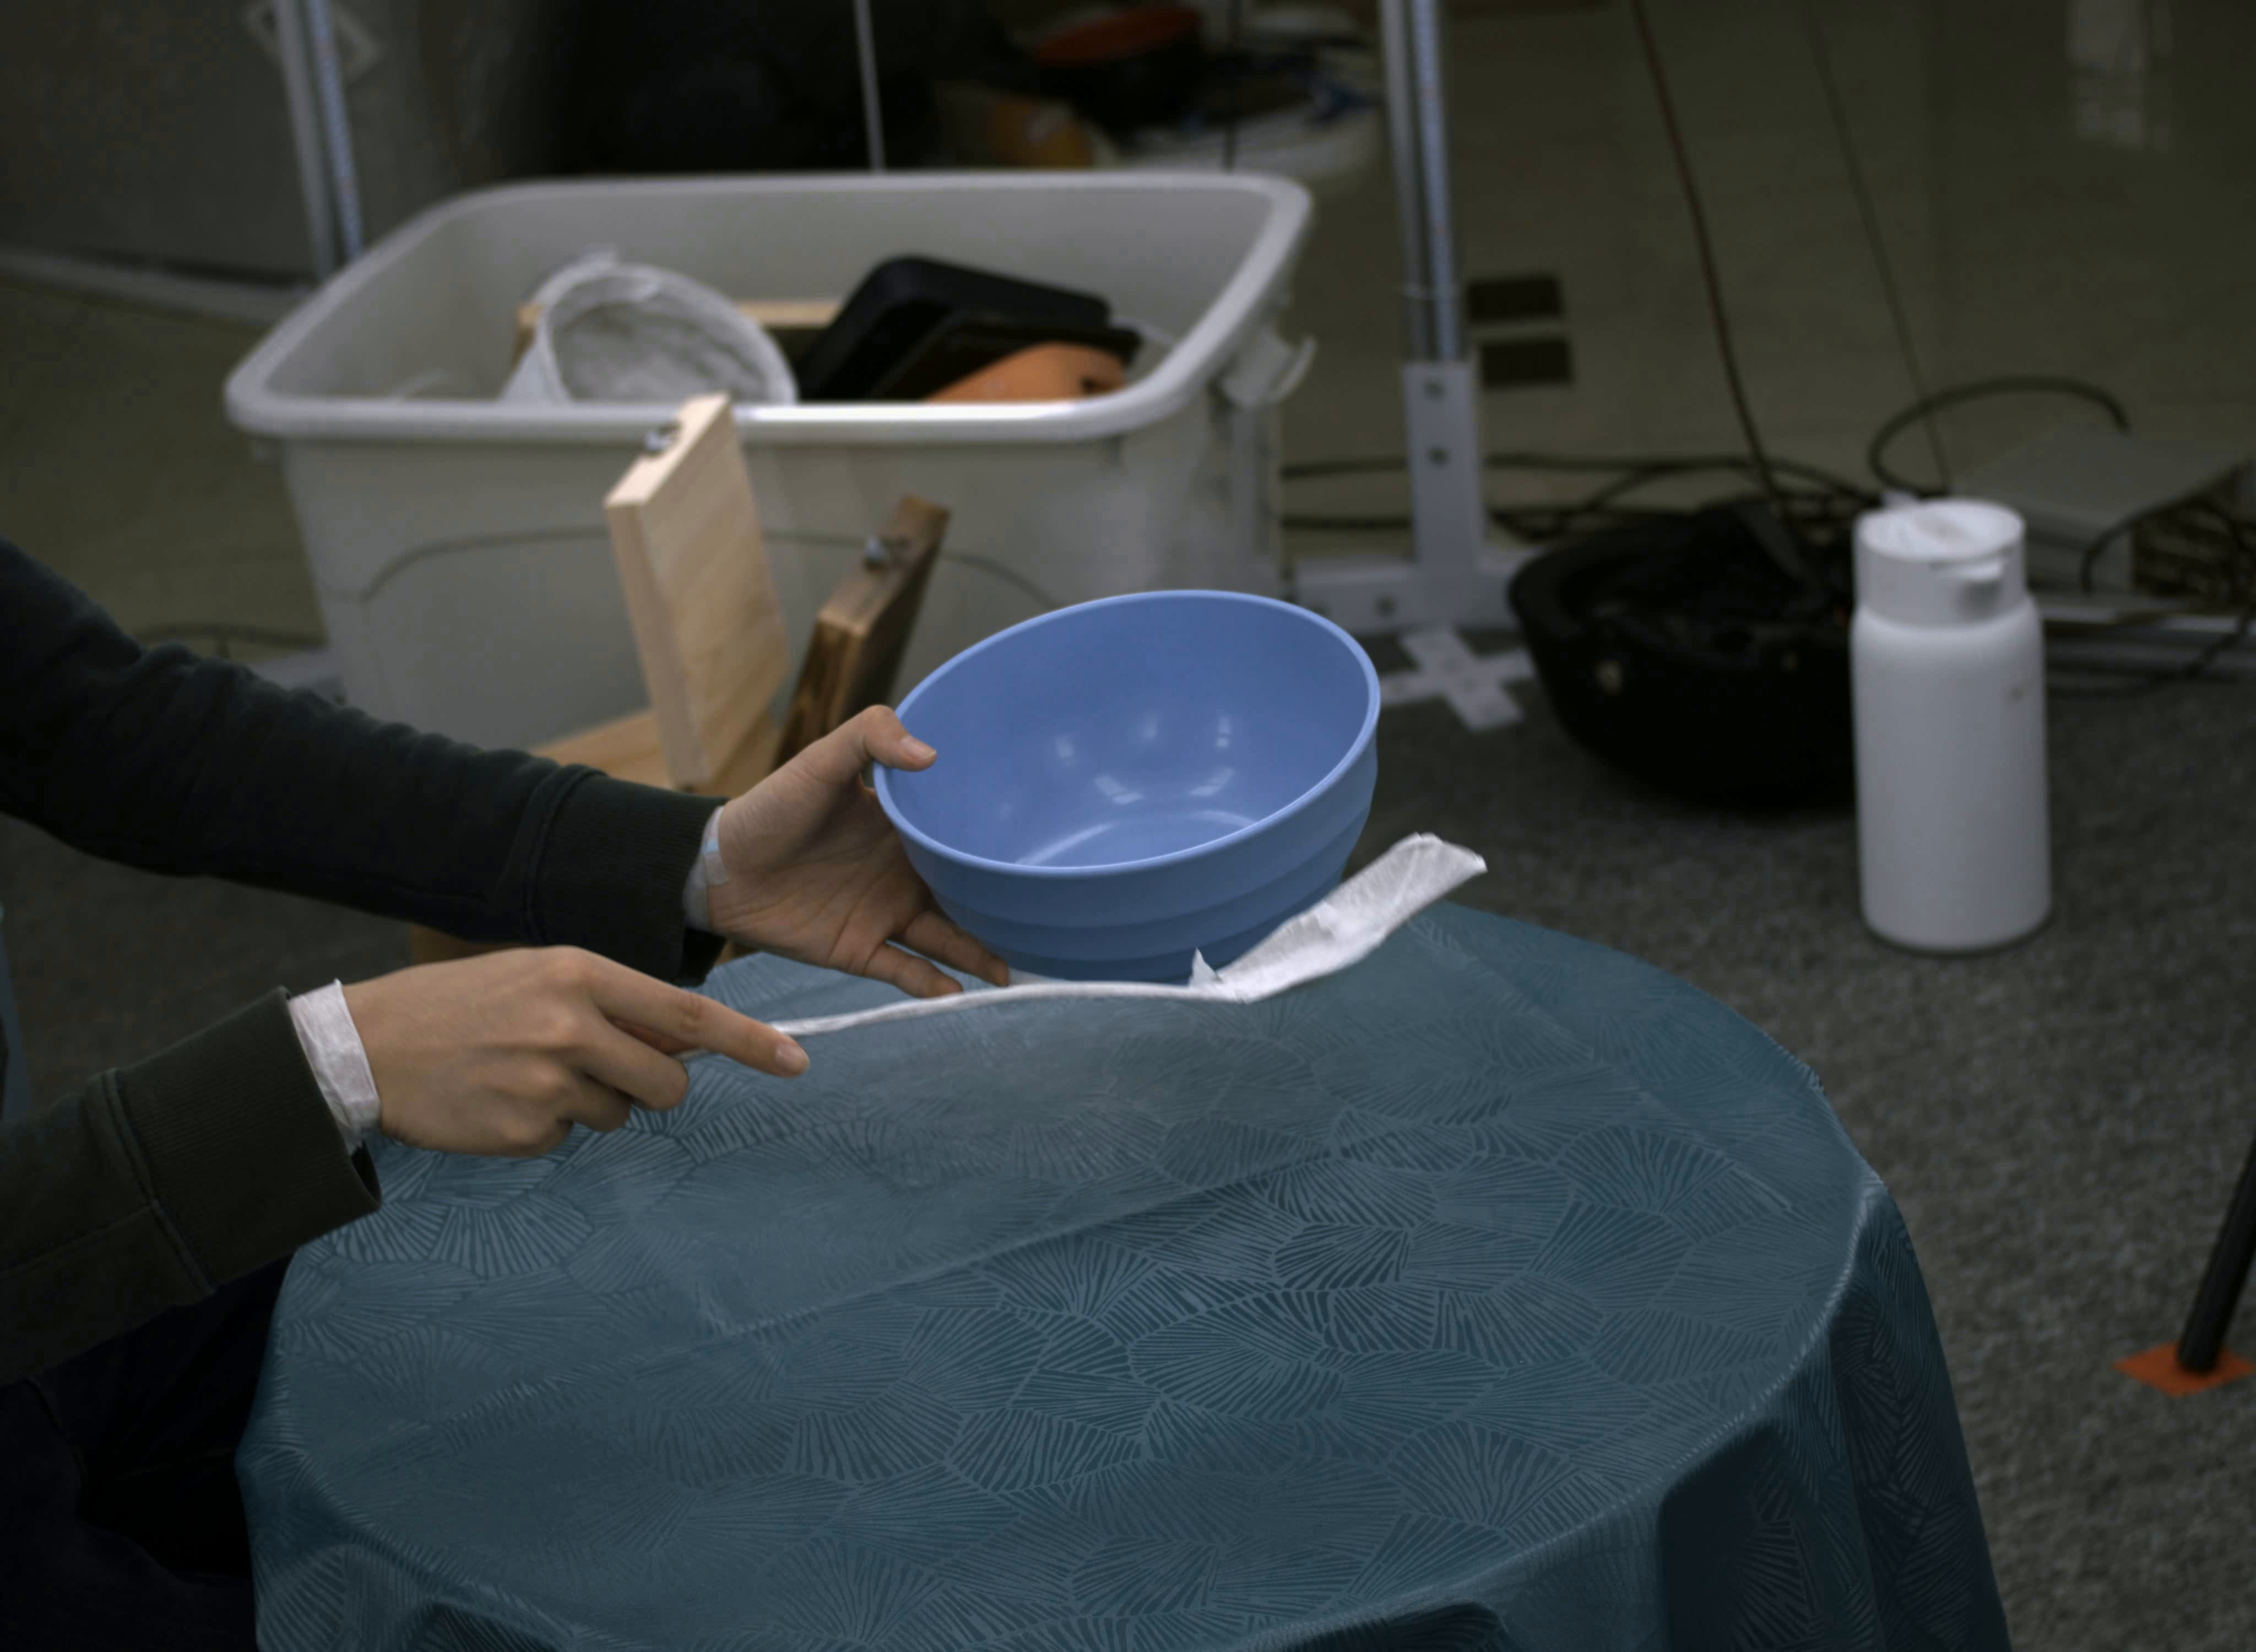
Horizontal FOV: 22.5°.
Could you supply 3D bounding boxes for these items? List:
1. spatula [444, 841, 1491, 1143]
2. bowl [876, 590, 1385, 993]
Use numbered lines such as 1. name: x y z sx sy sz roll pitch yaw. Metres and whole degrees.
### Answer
1. spatula: -0.054 0.058 1.917 0.364 0.045 0.098 -9 10 -7
2. bowl: 0.007 0.000 2.179 0.196 0.097 0.193 -7 34 5
